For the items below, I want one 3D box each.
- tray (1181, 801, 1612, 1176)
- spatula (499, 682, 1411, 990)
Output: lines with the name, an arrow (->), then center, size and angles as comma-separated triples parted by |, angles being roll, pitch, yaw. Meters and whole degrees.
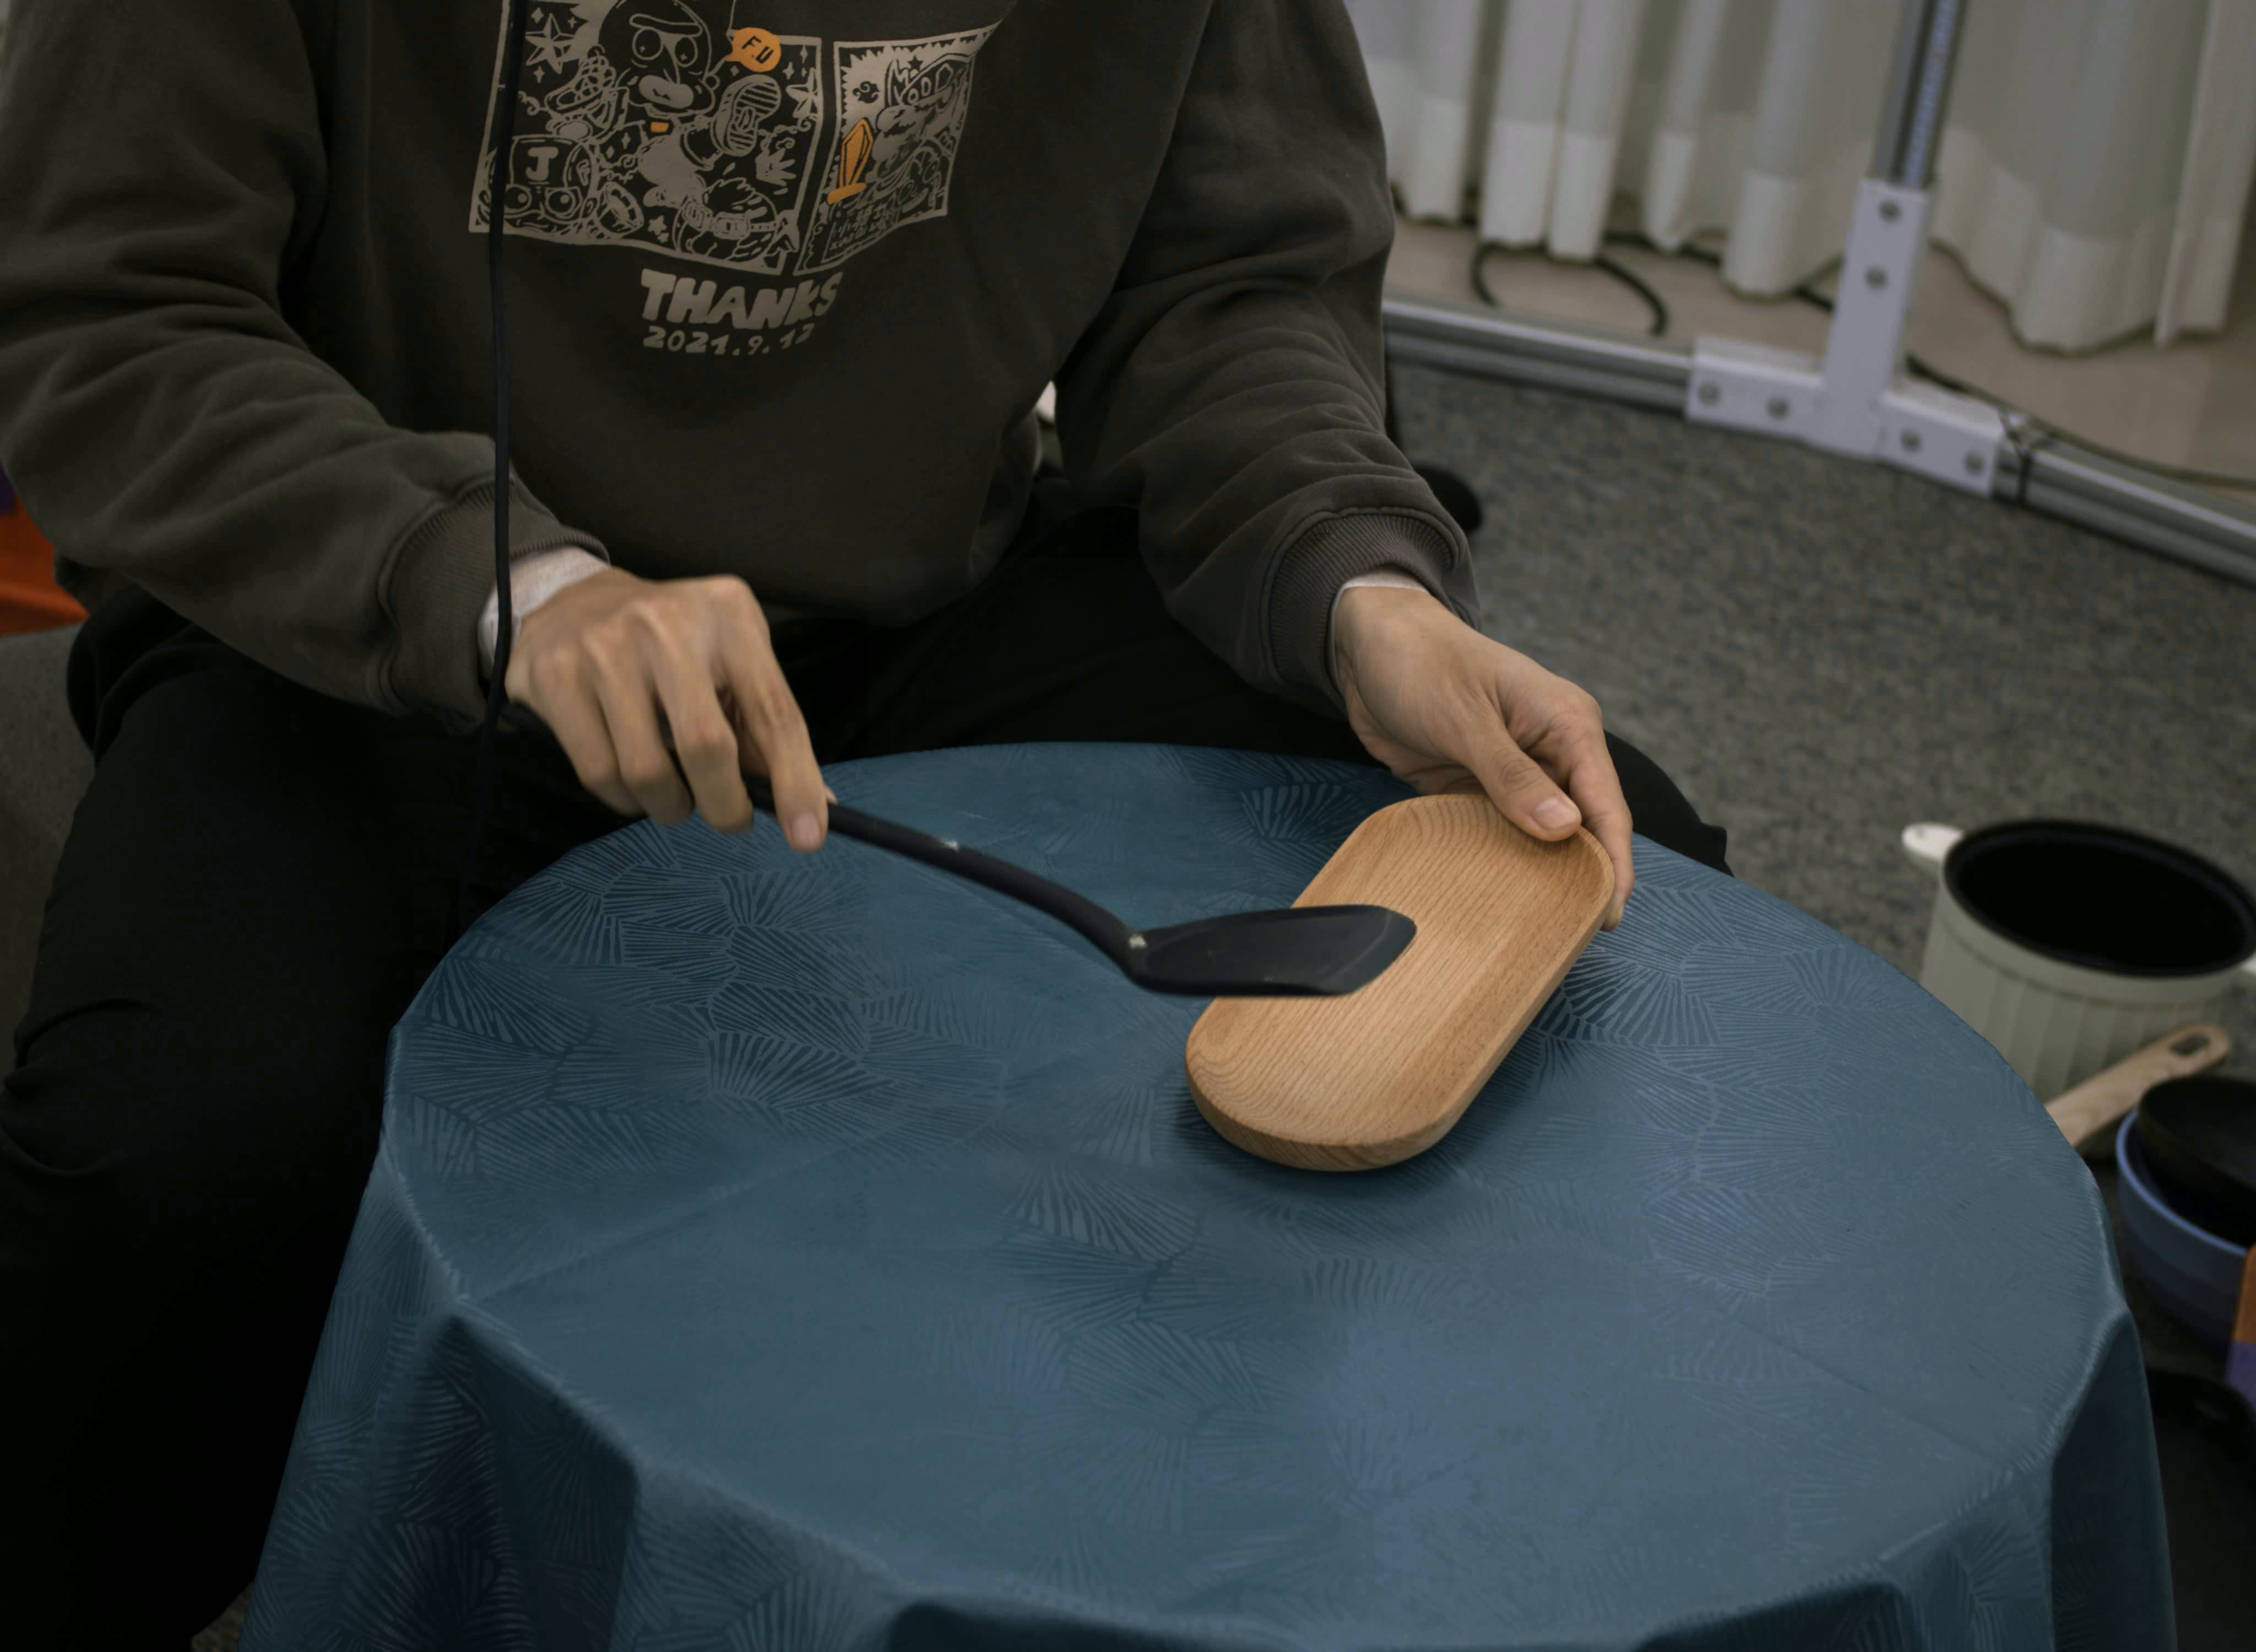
tray -> 0.098, 0.056, 1.907 | 0.102, 0.020, 0.231 | 15, 37, 22
spatula -> -0.064, 0.000, 1.804 | 0.326, 0.040, 0.099 | 22, 17, 12
